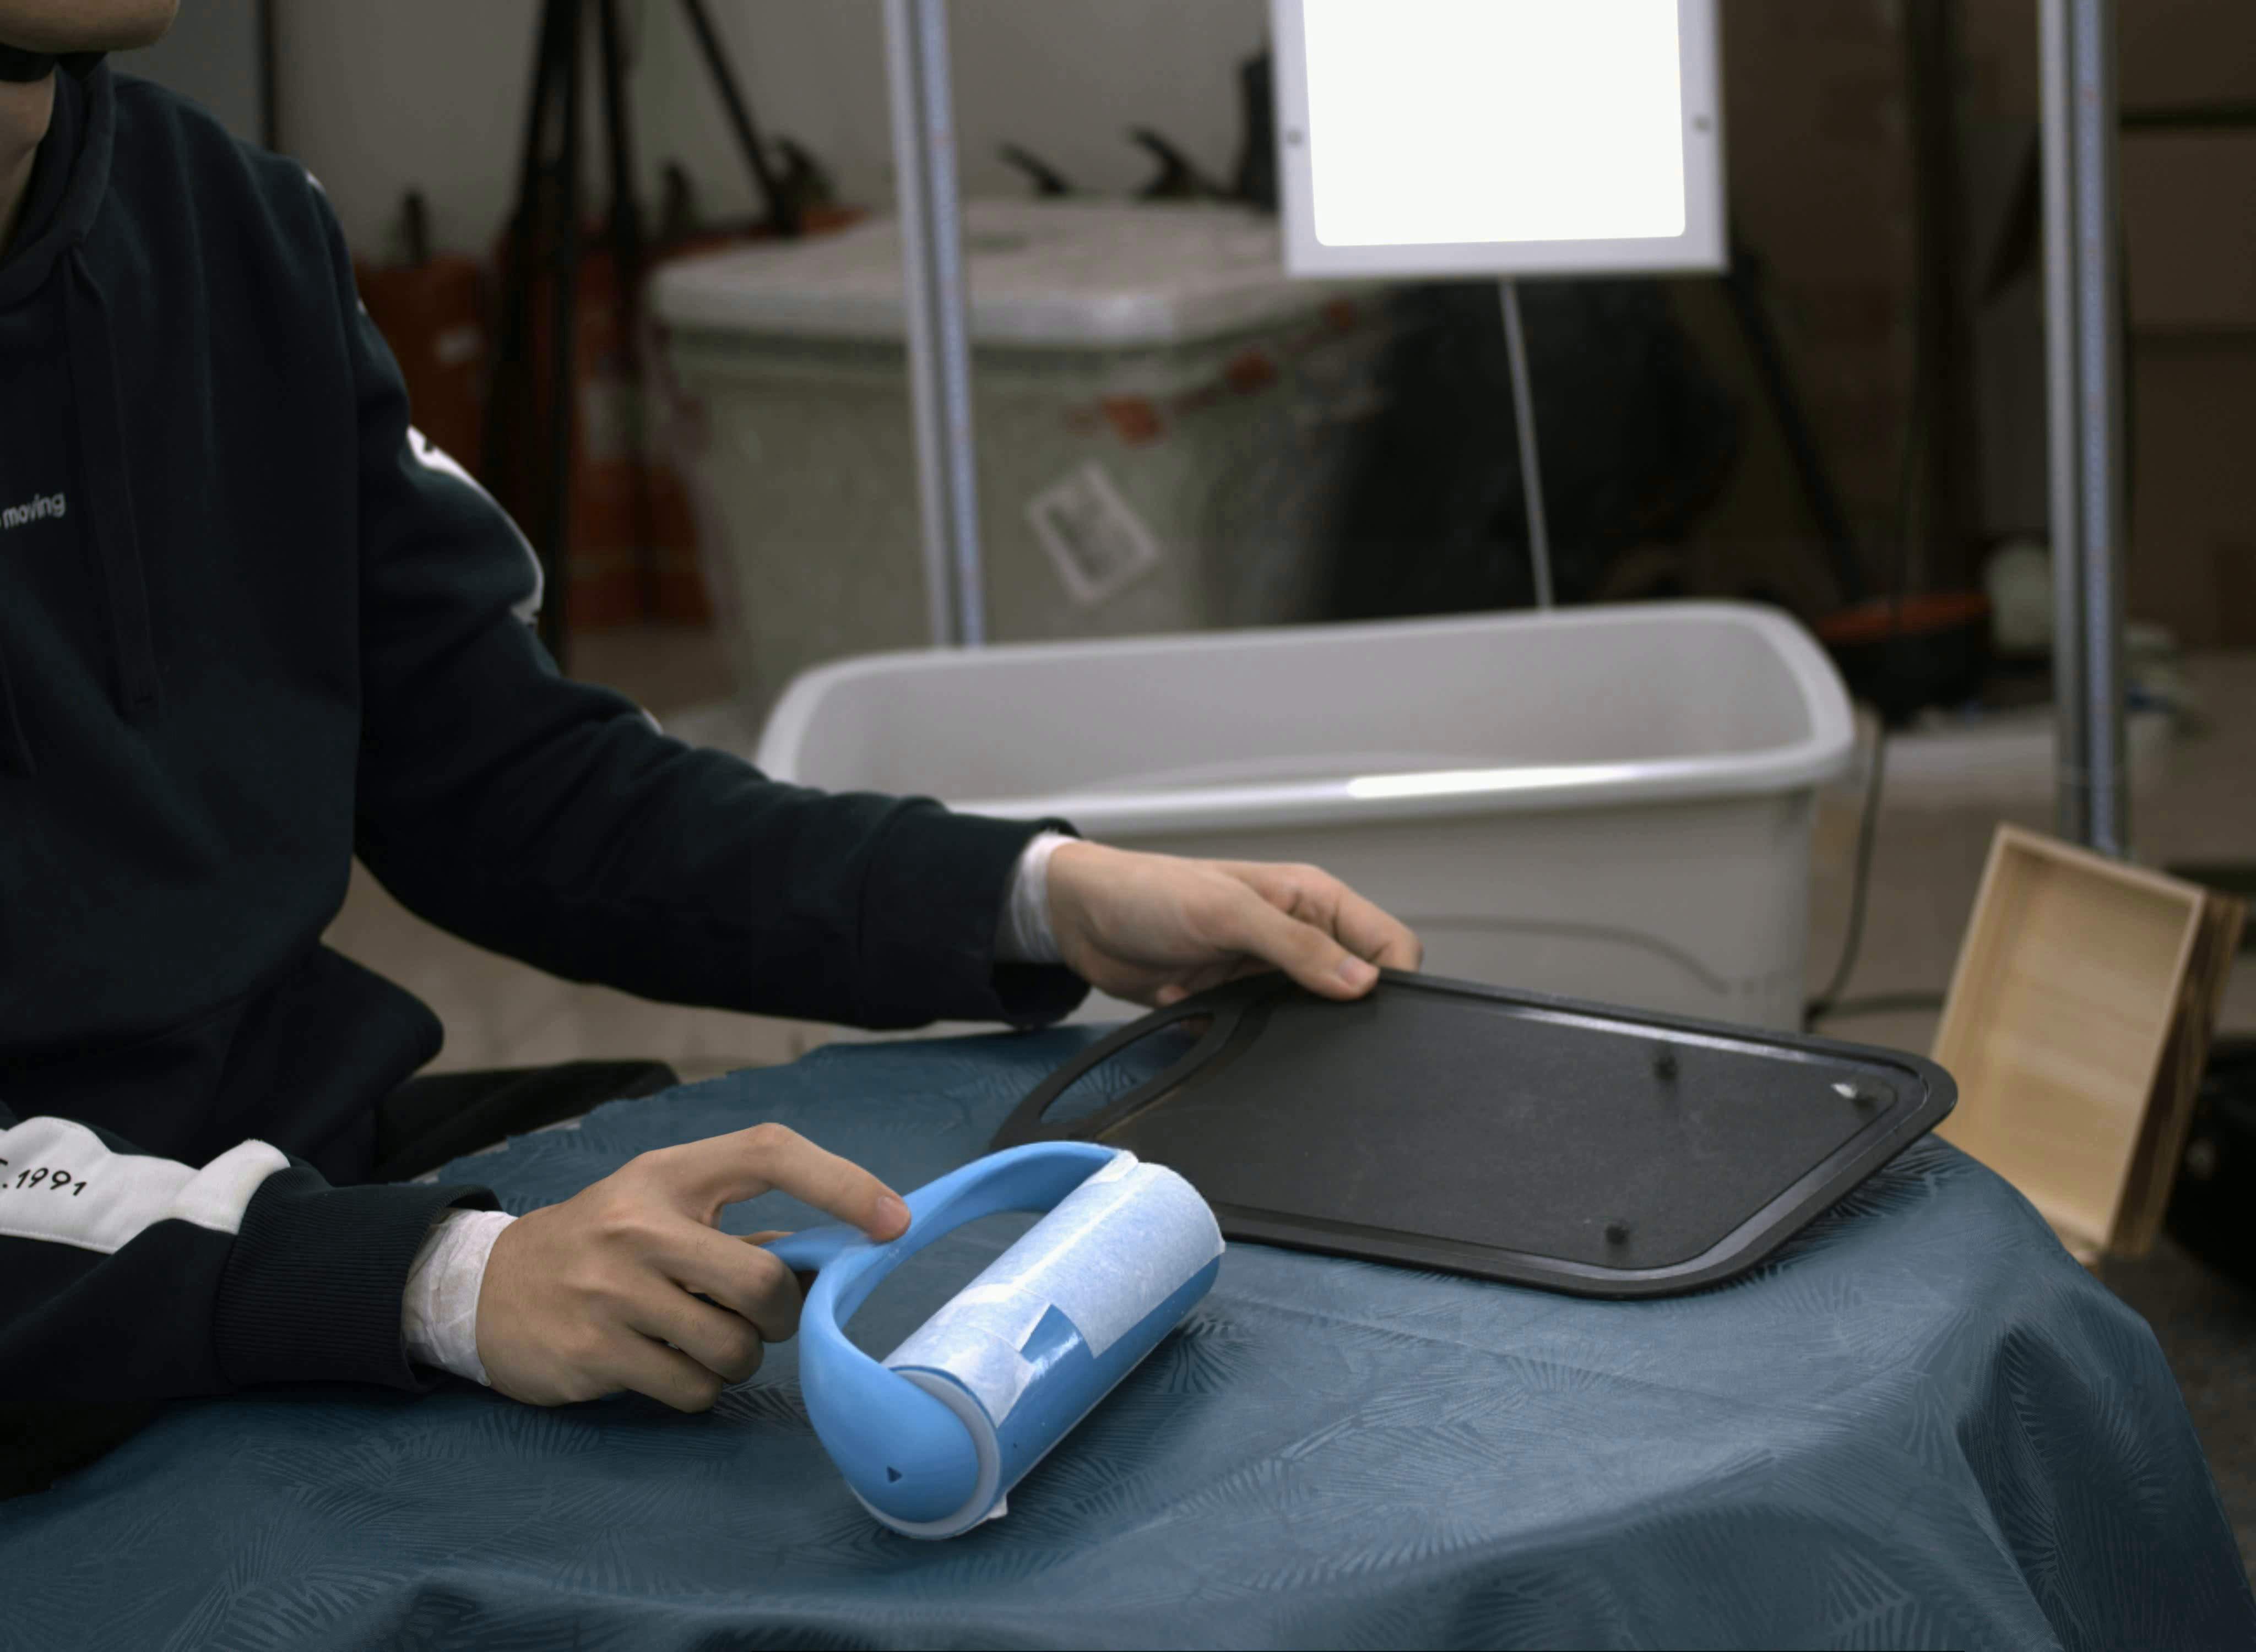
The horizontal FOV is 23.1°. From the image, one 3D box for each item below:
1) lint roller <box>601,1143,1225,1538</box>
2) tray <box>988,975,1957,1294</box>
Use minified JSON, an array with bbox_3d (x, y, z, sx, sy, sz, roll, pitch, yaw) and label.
[{"bbox_3d":[-0.082,0.154,1.691,0.182,0.068,0.225,0,16,19],"label":"lint roller"},{"bbox_3d":[0.110,0.101,1.893,0.332,0.010,0.206,7,25,39],"label":"tray"}]
